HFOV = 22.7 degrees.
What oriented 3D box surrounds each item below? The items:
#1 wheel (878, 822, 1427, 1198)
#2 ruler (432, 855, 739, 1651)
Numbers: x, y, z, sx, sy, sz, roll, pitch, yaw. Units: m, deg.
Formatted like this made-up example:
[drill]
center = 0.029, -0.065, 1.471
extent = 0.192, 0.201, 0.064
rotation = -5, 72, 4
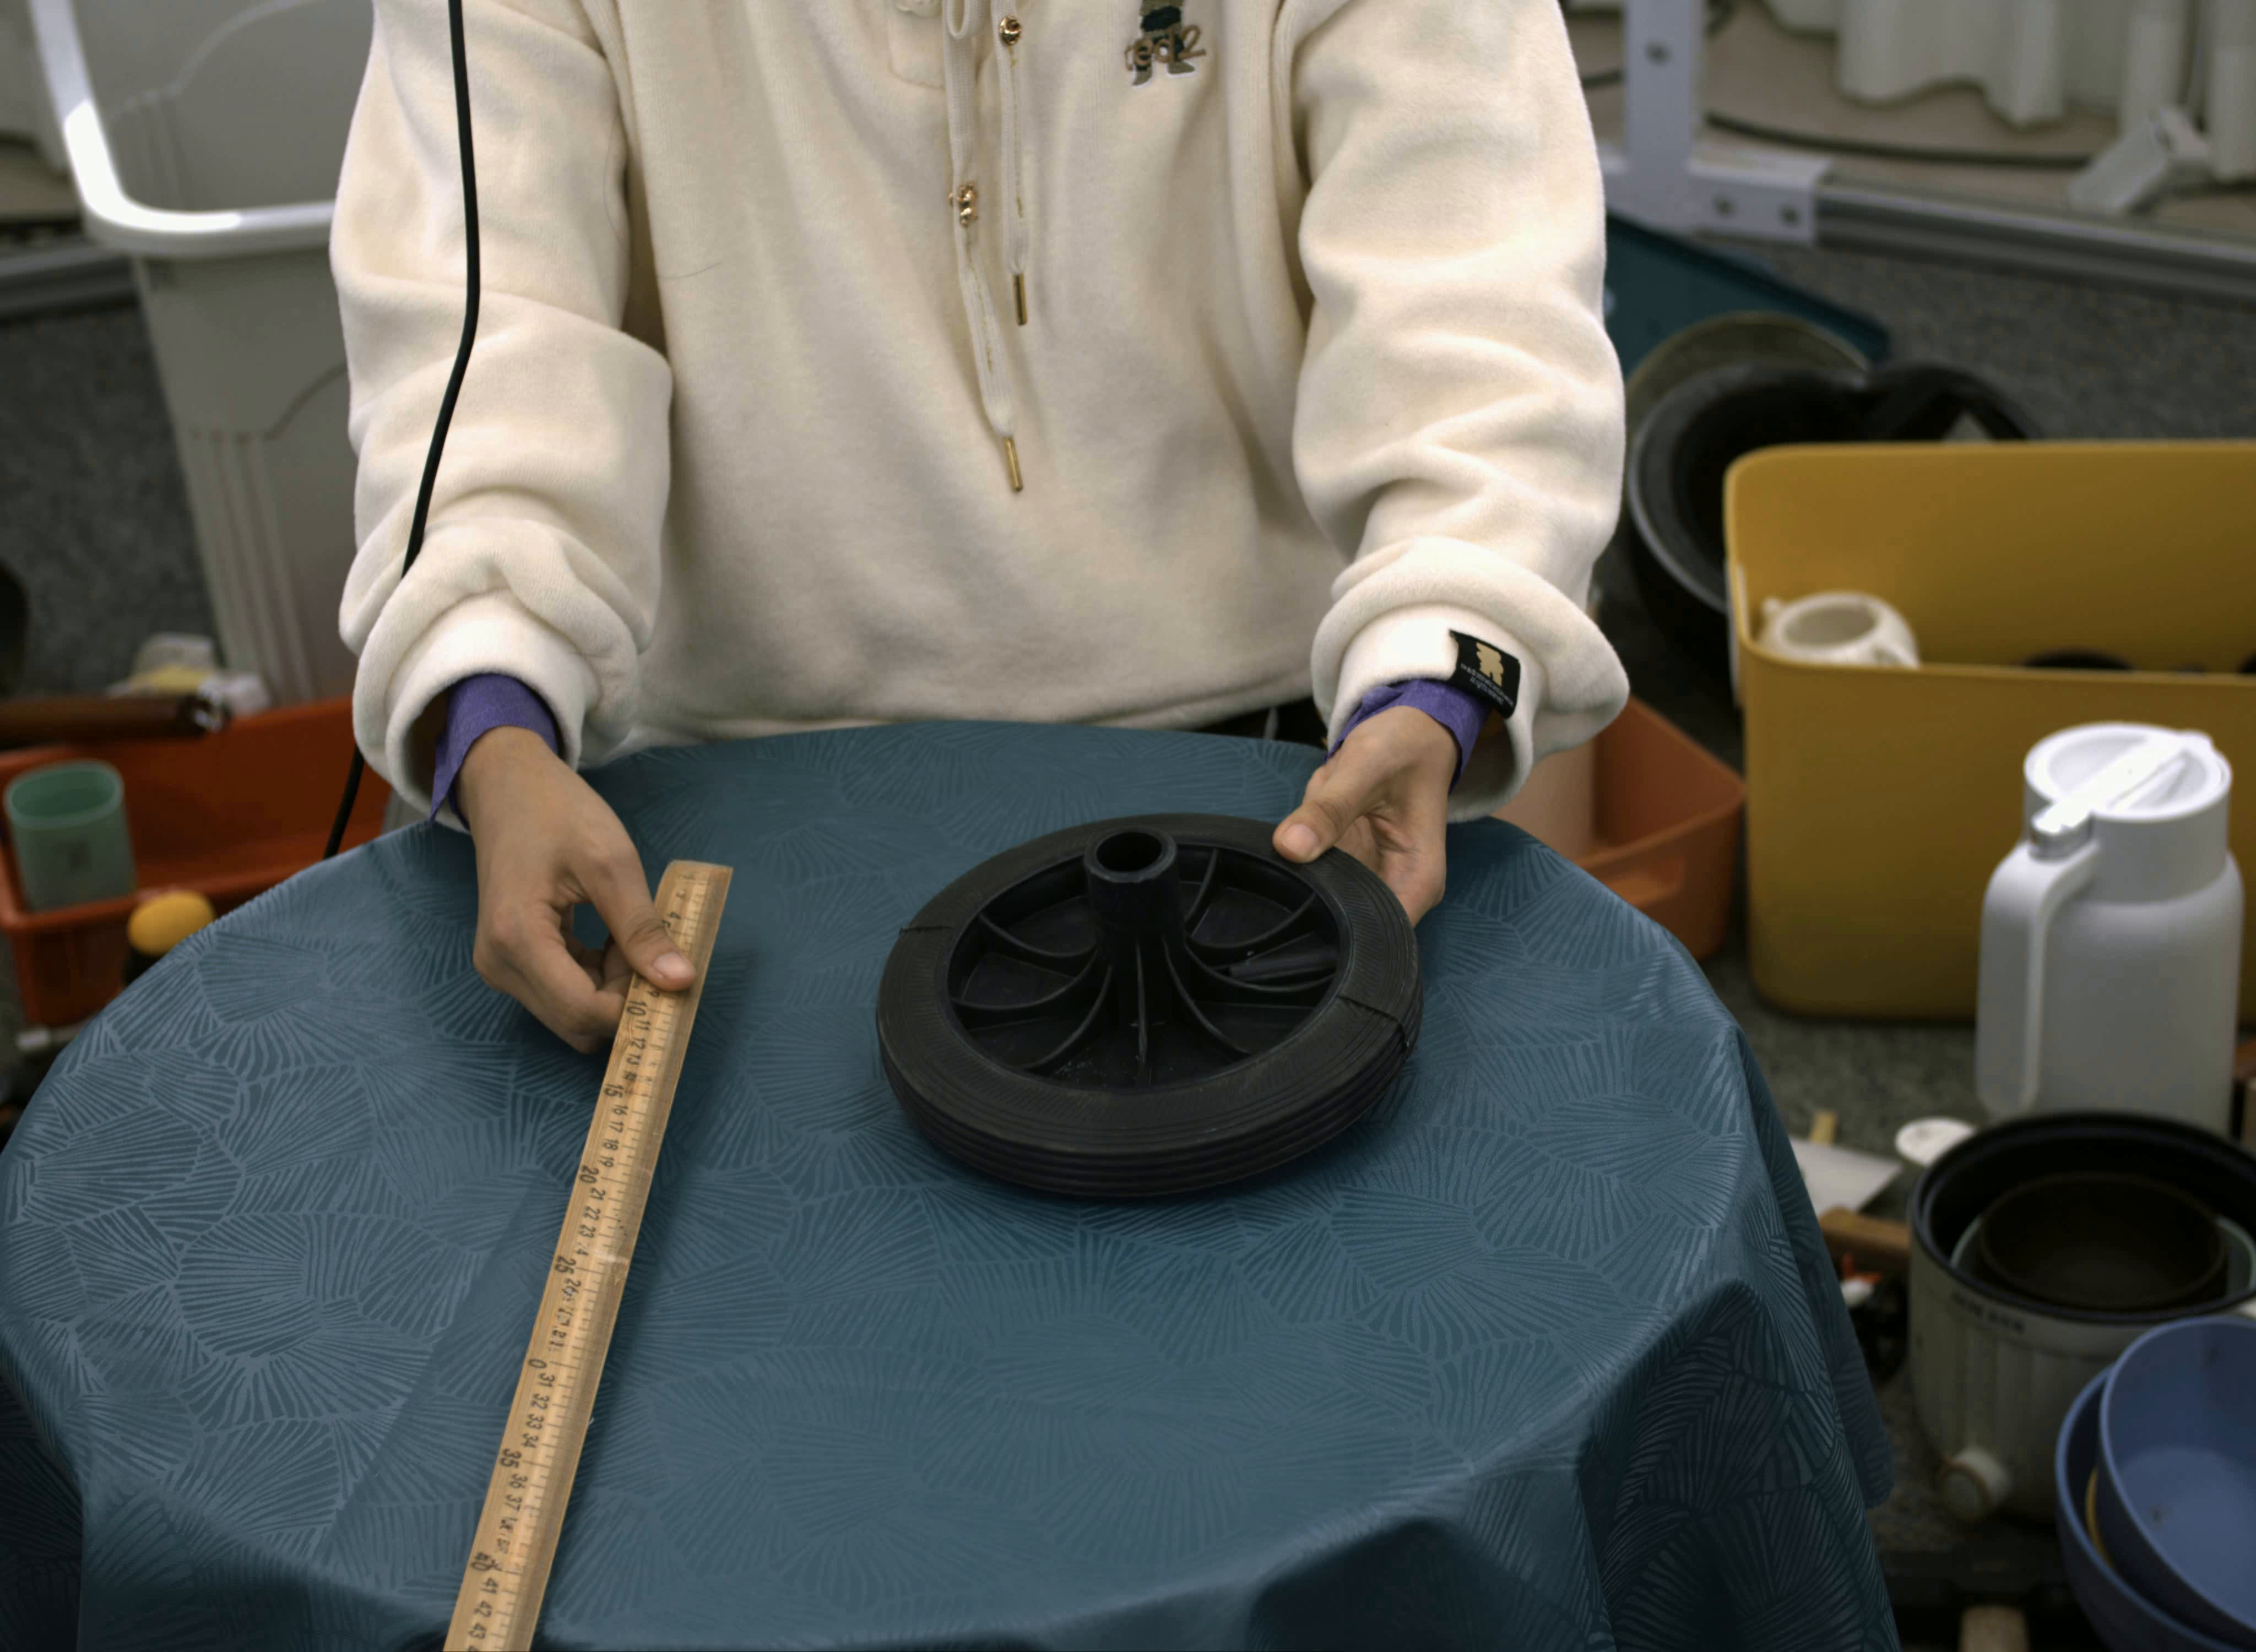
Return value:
[wheel]
center = 0.006, 0.043, 1.909
extent = 0.191, 0.078, 0.188
rotation = -23, 38, -22
[ruler]
center = -0.174, 0.144, 1.801
extent = 0.027, 0.006, 0.509
rotation = 13, 31, -2
